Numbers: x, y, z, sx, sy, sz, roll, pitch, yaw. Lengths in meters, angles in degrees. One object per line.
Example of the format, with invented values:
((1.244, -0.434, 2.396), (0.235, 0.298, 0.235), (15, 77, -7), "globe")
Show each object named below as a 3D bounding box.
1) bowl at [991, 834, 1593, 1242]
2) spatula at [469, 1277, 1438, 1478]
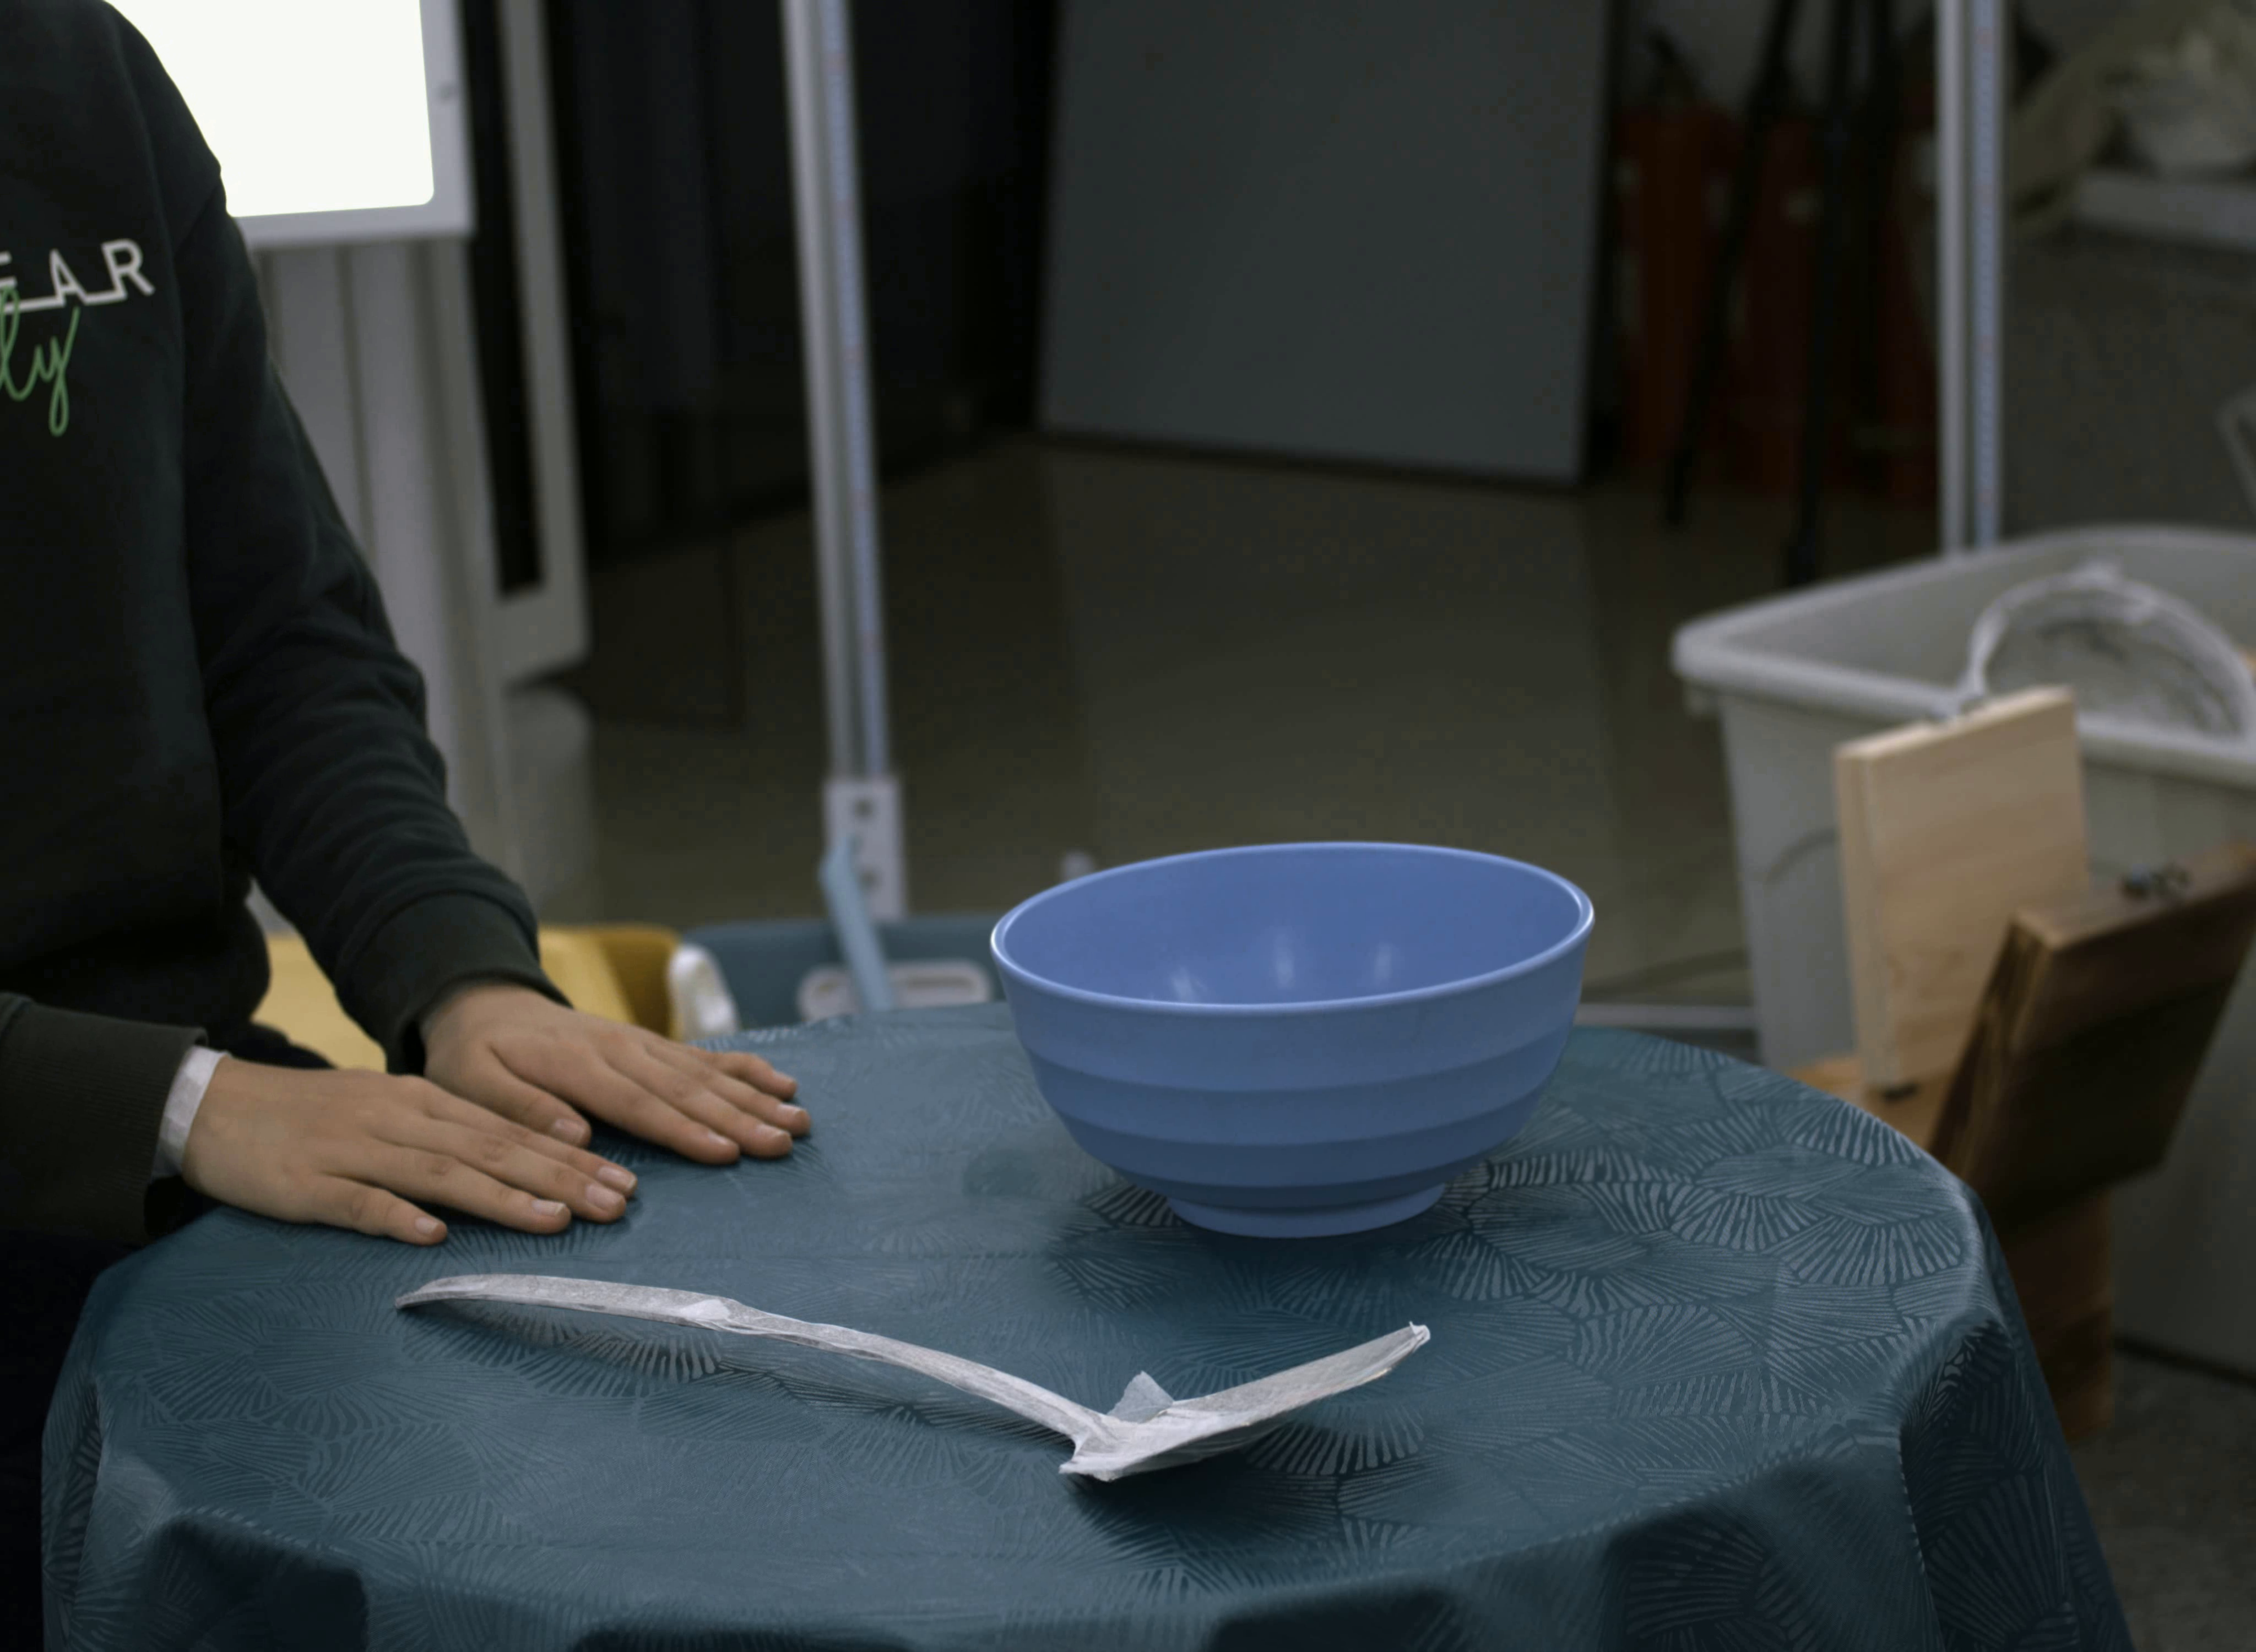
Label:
((0.055, 0.074, 1.744), (0.194, 0.096, 0.197), (-4, 15, 0), "bowl")
((-0.072, 0.150, 1.593), (0.367, 0.045, 0.097), (7, 19, 38), "spatula")
